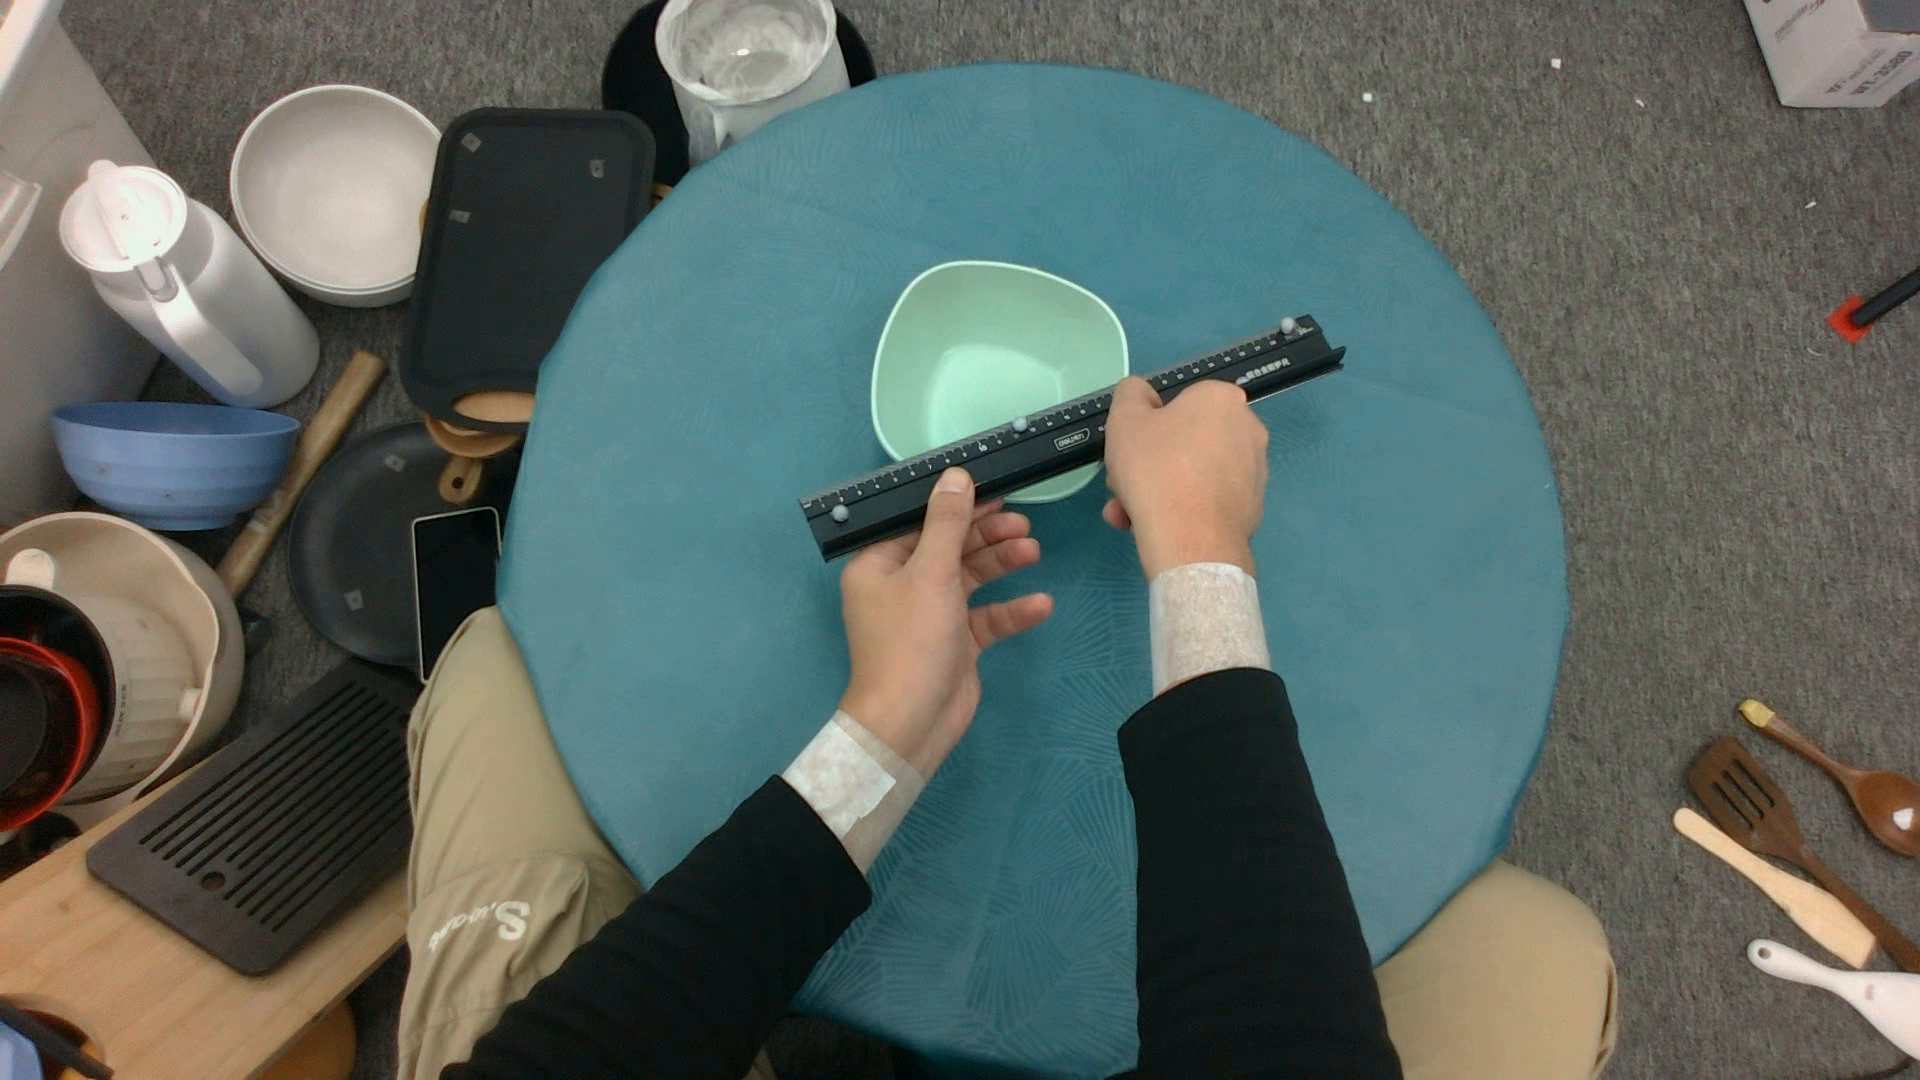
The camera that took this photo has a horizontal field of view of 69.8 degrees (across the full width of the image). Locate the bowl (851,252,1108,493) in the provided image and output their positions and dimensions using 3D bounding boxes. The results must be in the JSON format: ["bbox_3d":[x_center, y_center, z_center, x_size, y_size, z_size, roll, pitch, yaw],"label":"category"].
[{"bbox_3d":[0.009,-0.085,0.772,0.151,0.058,0.152,2,71,-6],"label":"bowl"}]

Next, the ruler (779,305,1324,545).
[{"bbox_3d":[0.056,-0.068,0.729,0.313,0.017,0.039,-21,70,-16],"label":"ruler"}]
